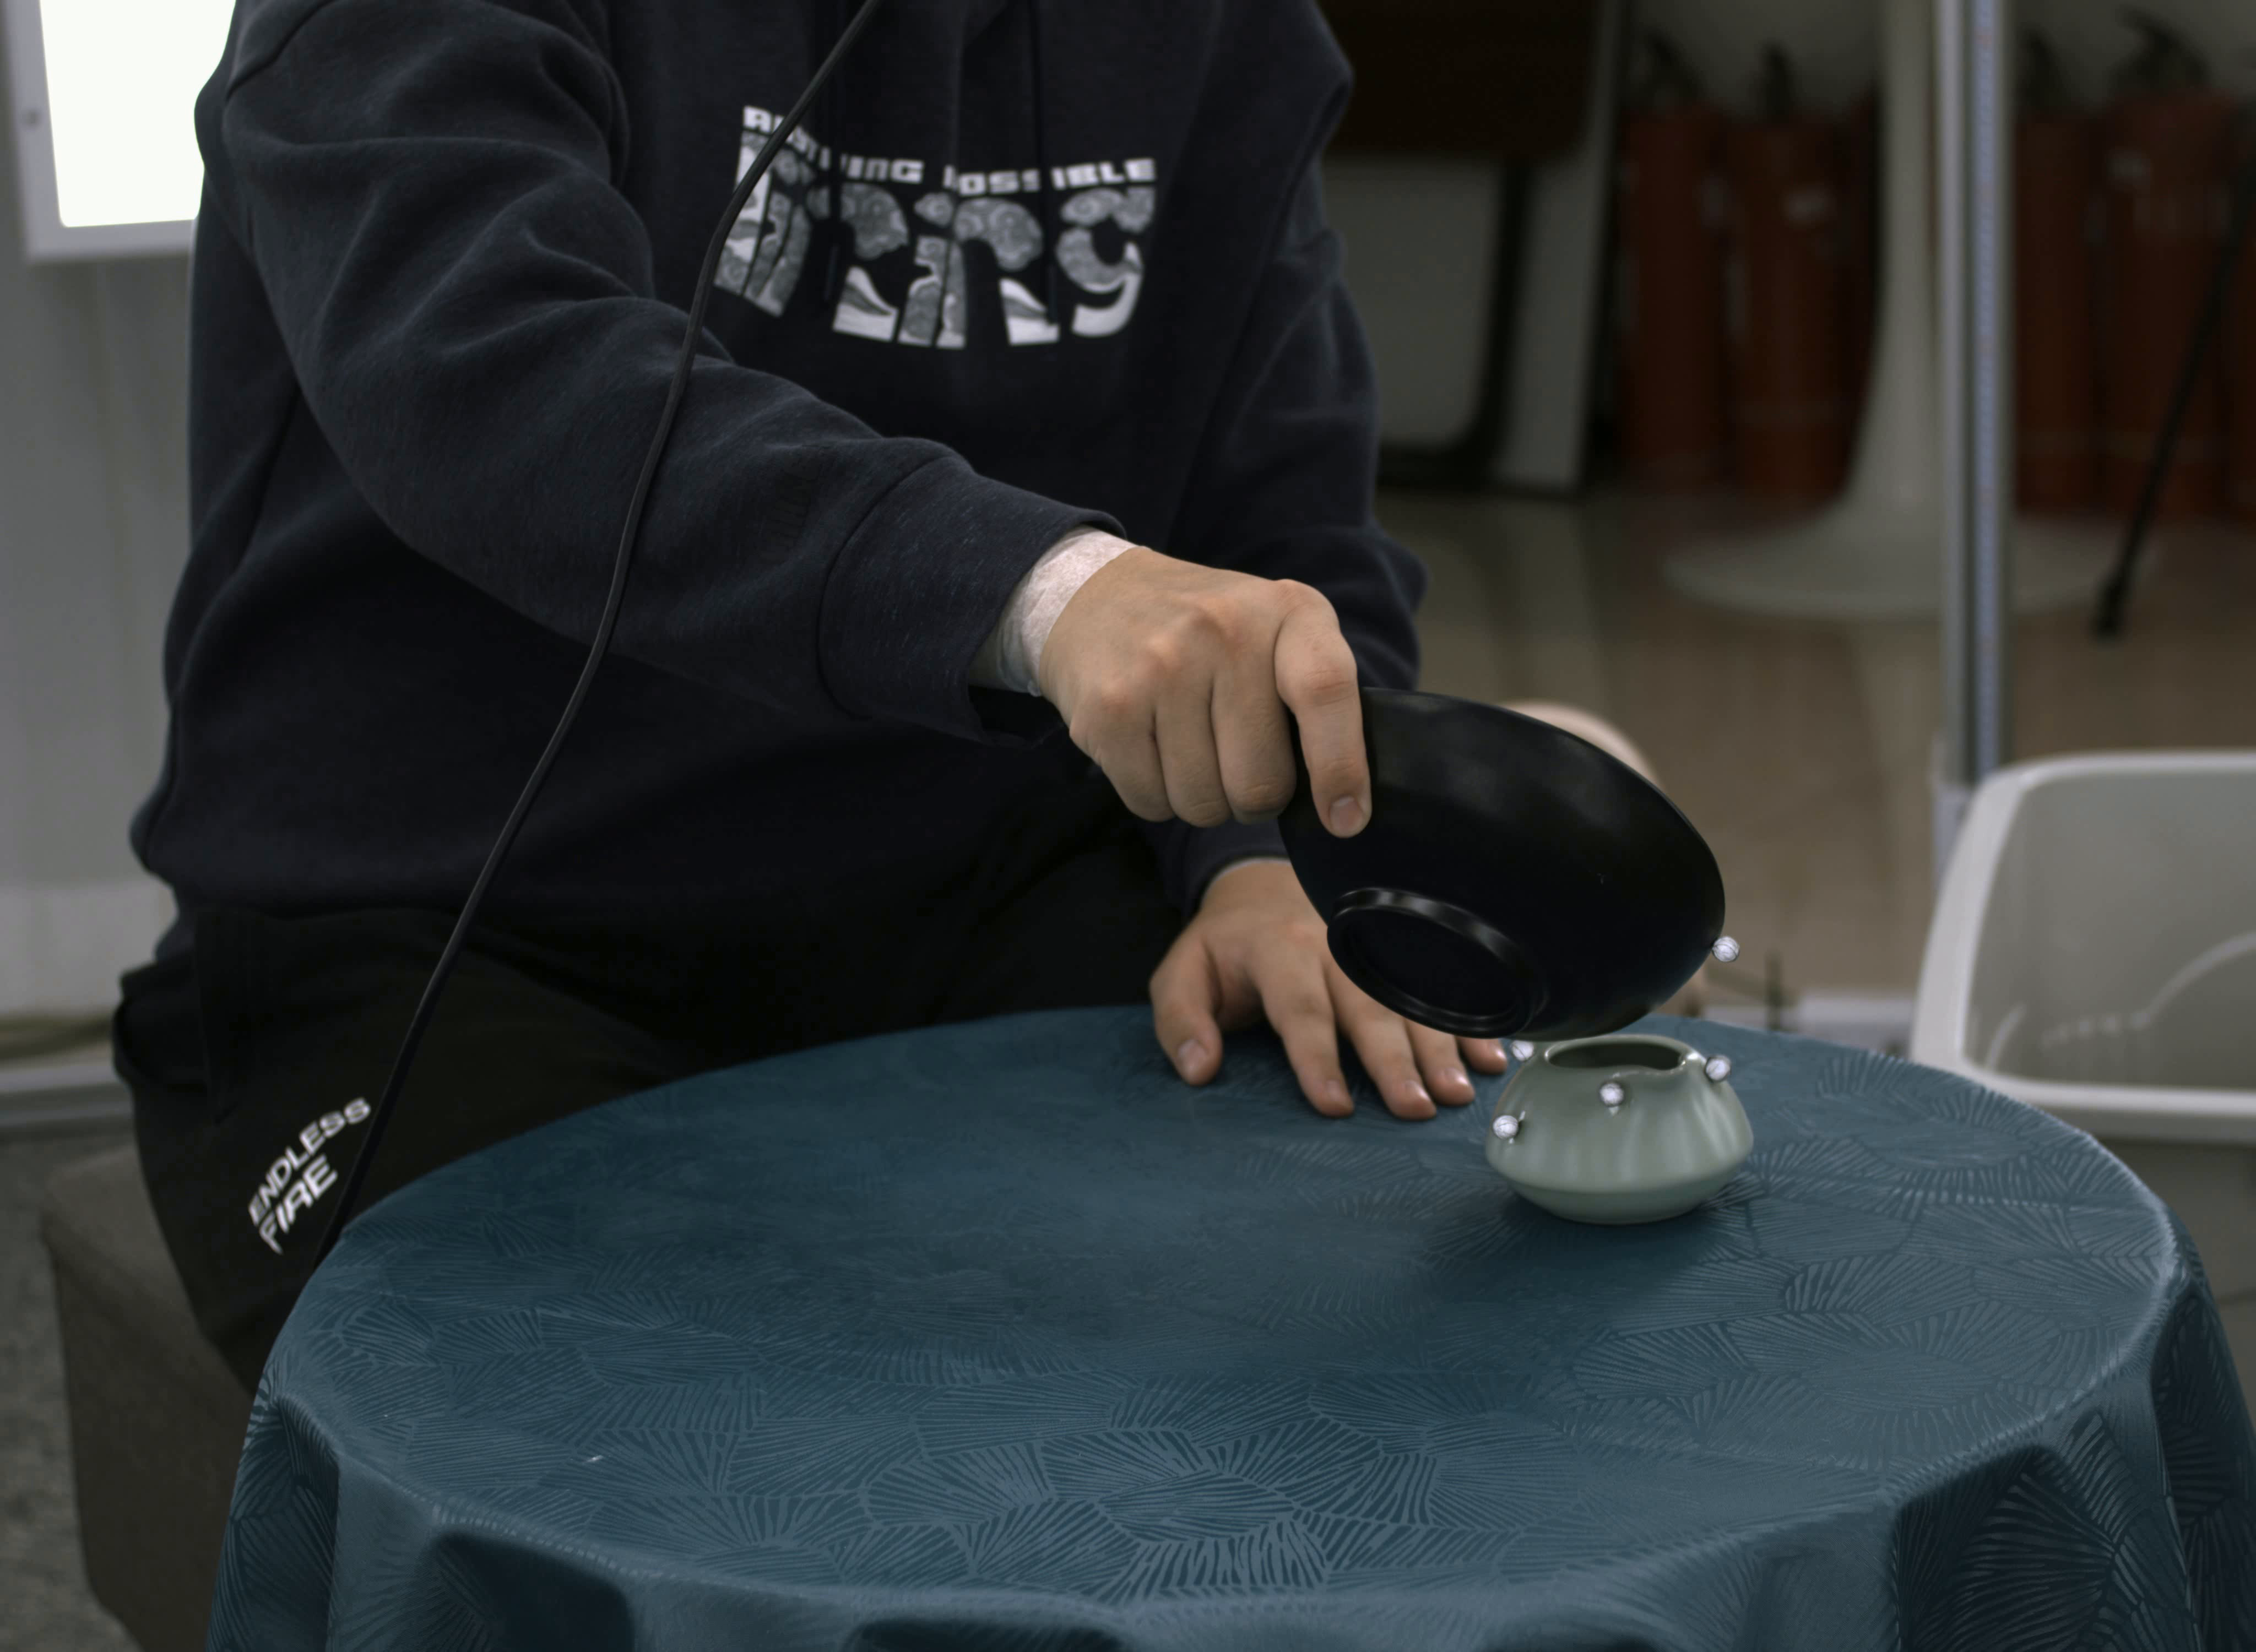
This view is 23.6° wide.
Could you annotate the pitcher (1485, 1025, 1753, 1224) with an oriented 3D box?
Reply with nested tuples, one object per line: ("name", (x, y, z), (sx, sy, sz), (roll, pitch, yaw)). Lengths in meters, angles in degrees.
("pitcher", (0.153, 0.091, 1.734), (0.084, 0.061, 0.109), (-8, 13, -21))

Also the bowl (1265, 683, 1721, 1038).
("bowl", (0.104, 0.020, 1.651), (0.138, 0.168, 0.067), (1, 55, 41))
